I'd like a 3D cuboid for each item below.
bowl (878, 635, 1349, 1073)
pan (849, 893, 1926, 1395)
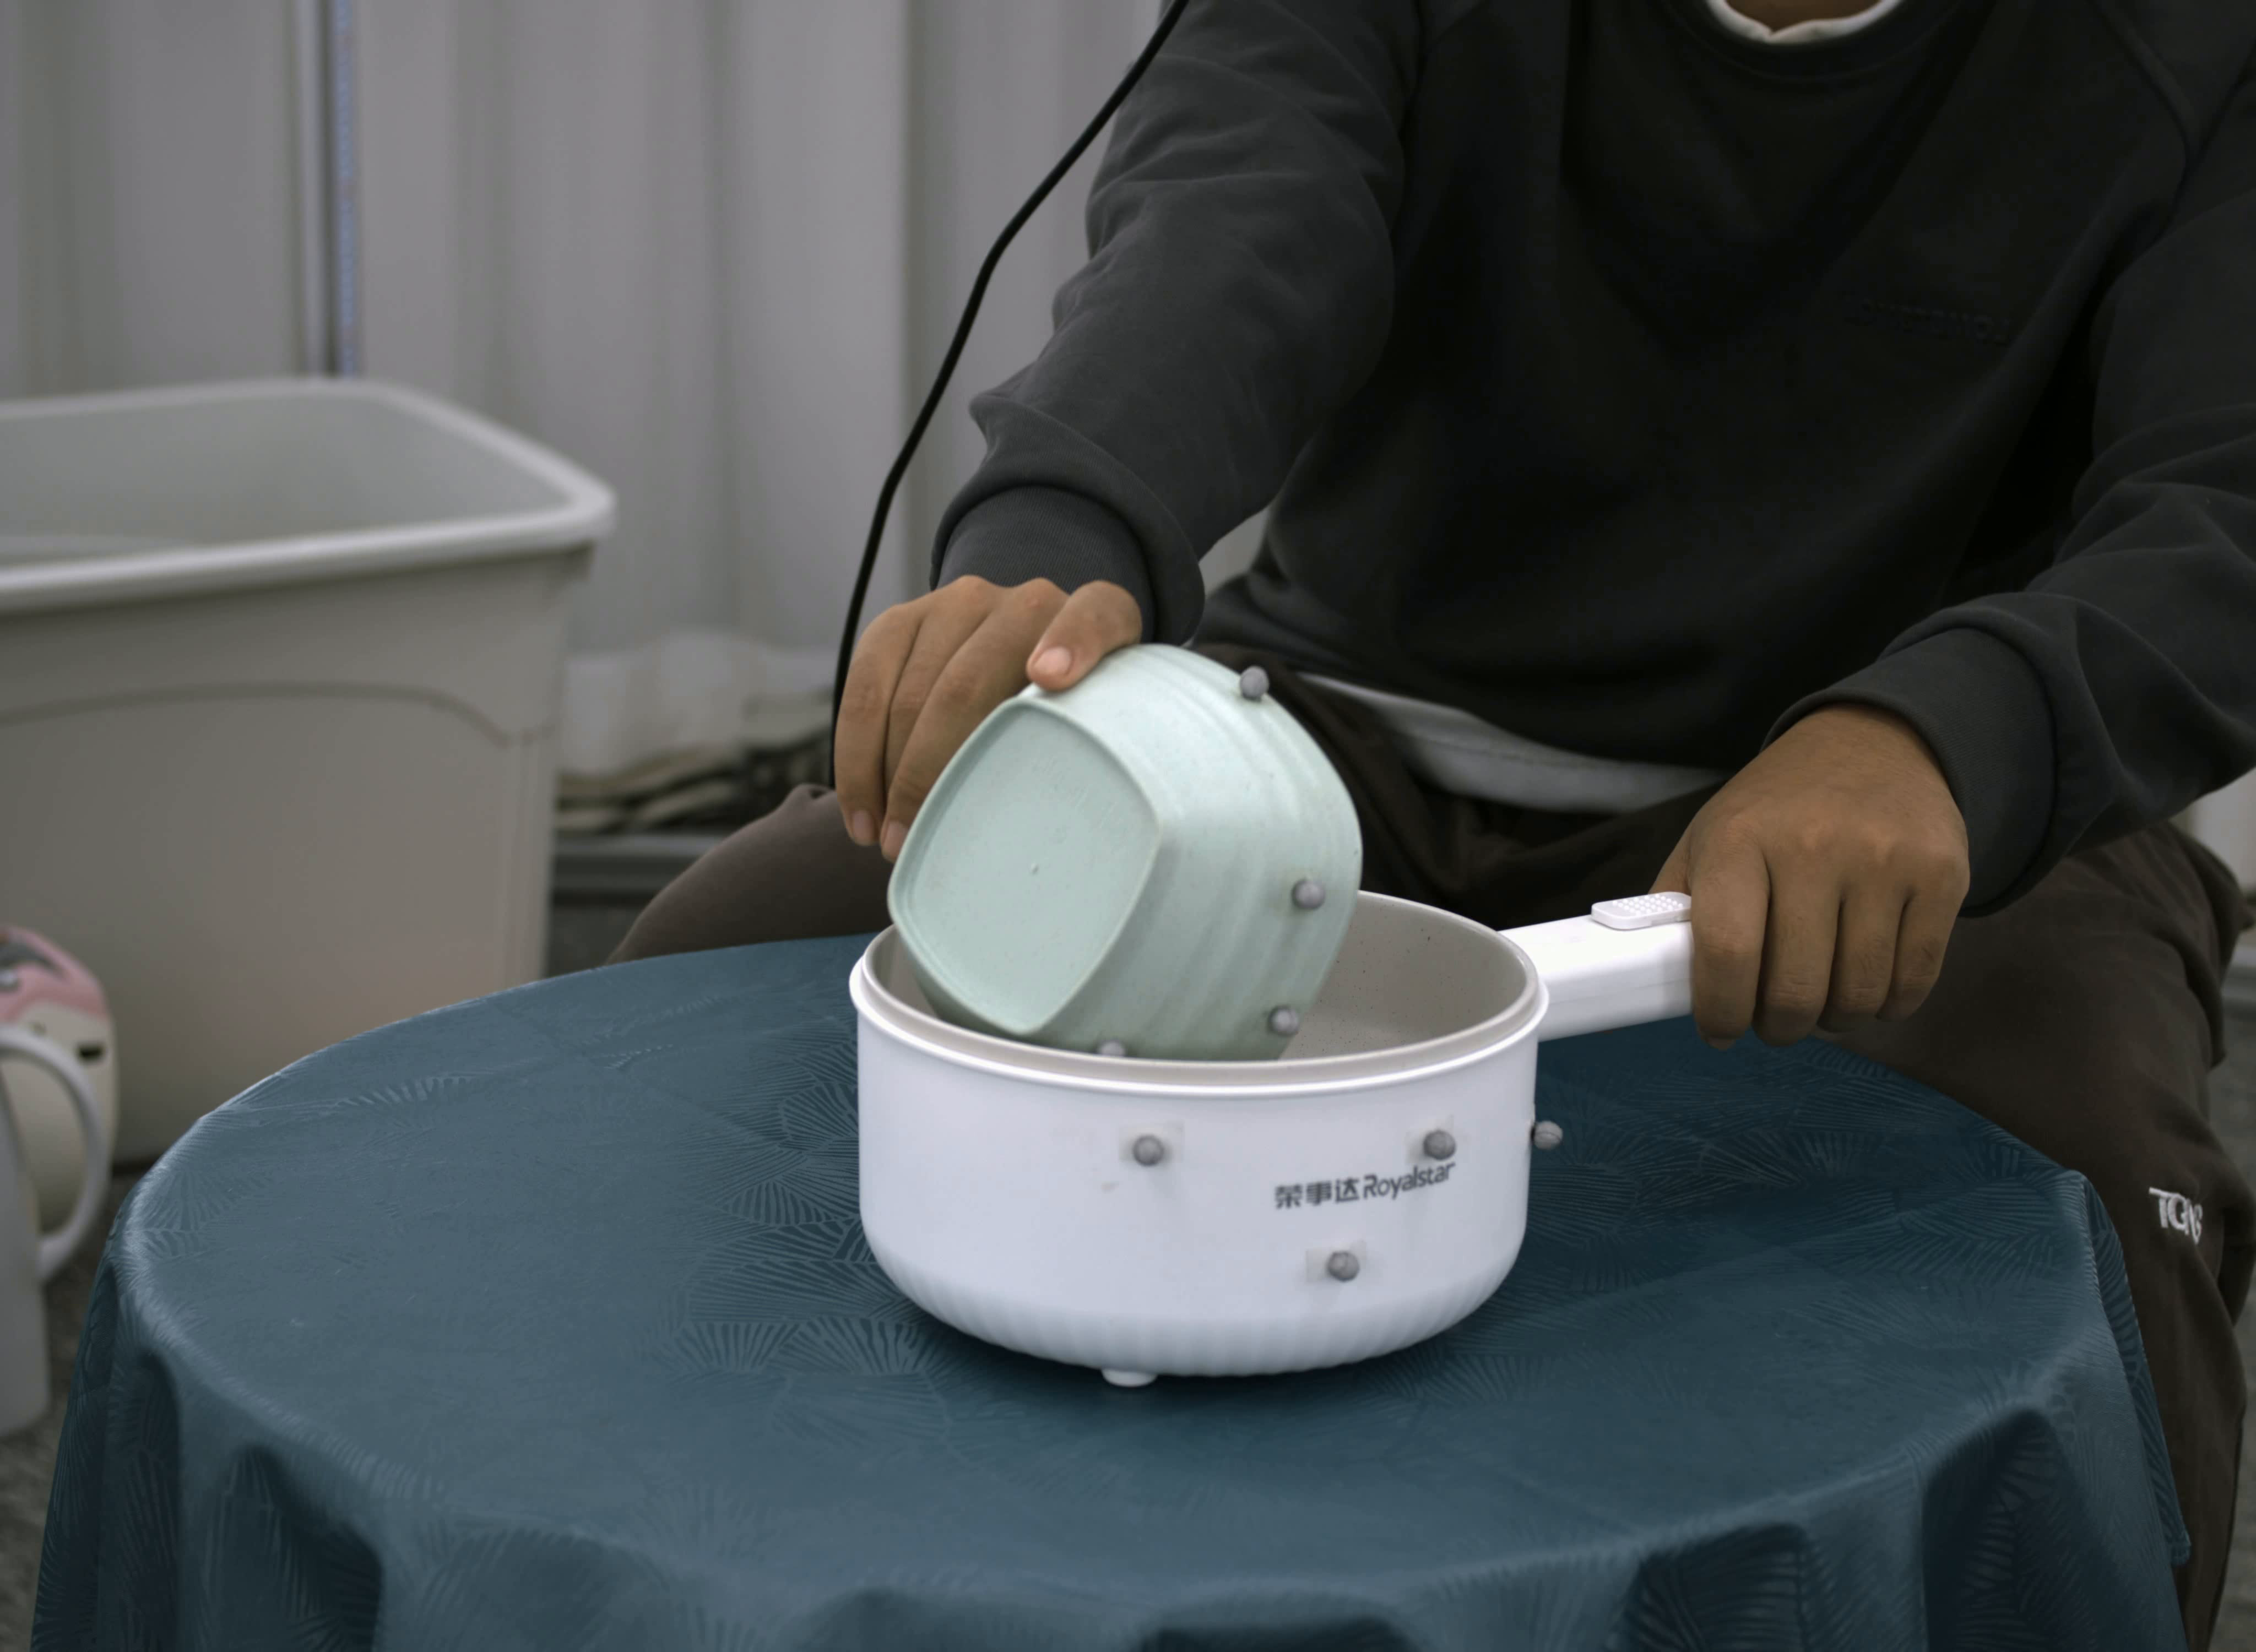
[{"bbox_3d":[-0.015,0.013,1.465,0.149,0.152,0.059,15,-2,41],"label":"bowl"},{"bbox_3d":[0.085,0.086,1.564,0.356,0.103,0.199,-6,14,-31],"label":"pan"}]
